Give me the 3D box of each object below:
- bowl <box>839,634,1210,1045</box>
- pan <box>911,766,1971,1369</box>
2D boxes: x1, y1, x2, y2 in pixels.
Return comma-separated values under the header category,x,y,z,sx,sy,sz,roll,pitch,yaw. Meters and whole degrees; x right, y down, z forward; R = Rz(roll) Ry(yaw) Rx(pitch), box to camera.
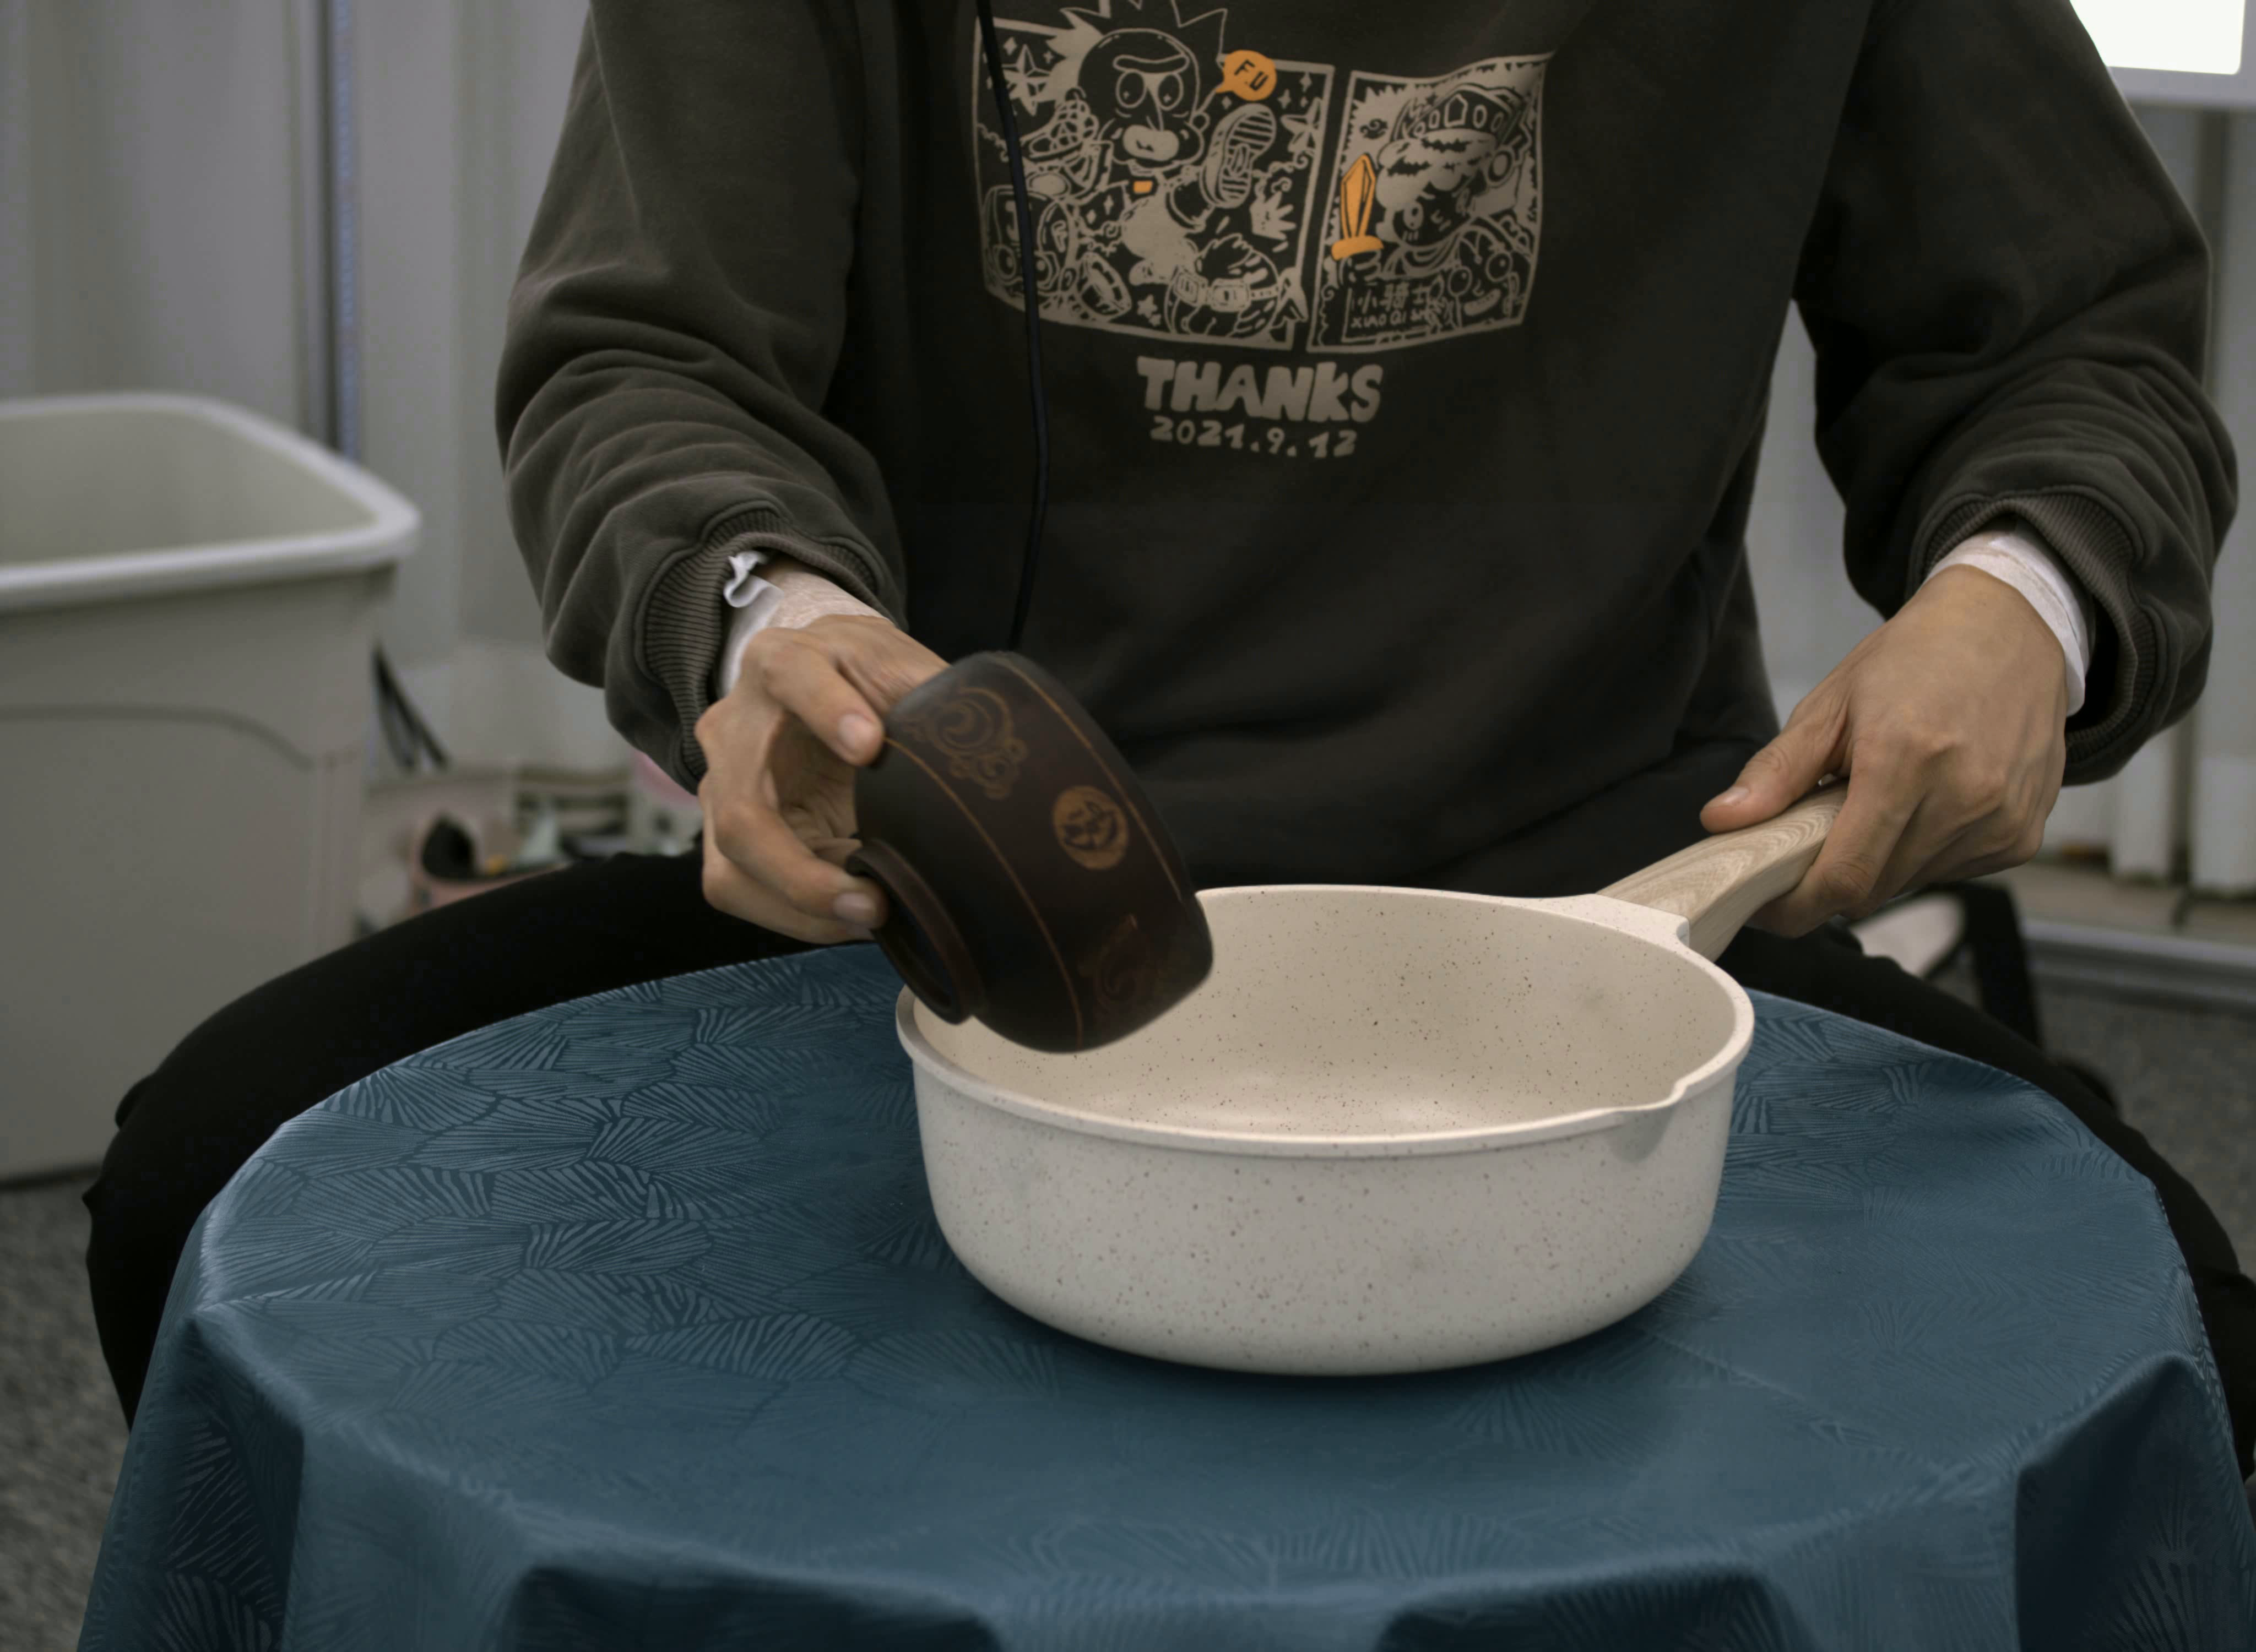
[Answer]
category,x,y,z,sx,sy,sz,roll,pitch,yaw
bowl,-0.038,0.012,1.495,0.070,0.119,0.116,-35,29,-17
pan,0.126,0.068,1.614,0.260,0.103,0.437,13,19,42
